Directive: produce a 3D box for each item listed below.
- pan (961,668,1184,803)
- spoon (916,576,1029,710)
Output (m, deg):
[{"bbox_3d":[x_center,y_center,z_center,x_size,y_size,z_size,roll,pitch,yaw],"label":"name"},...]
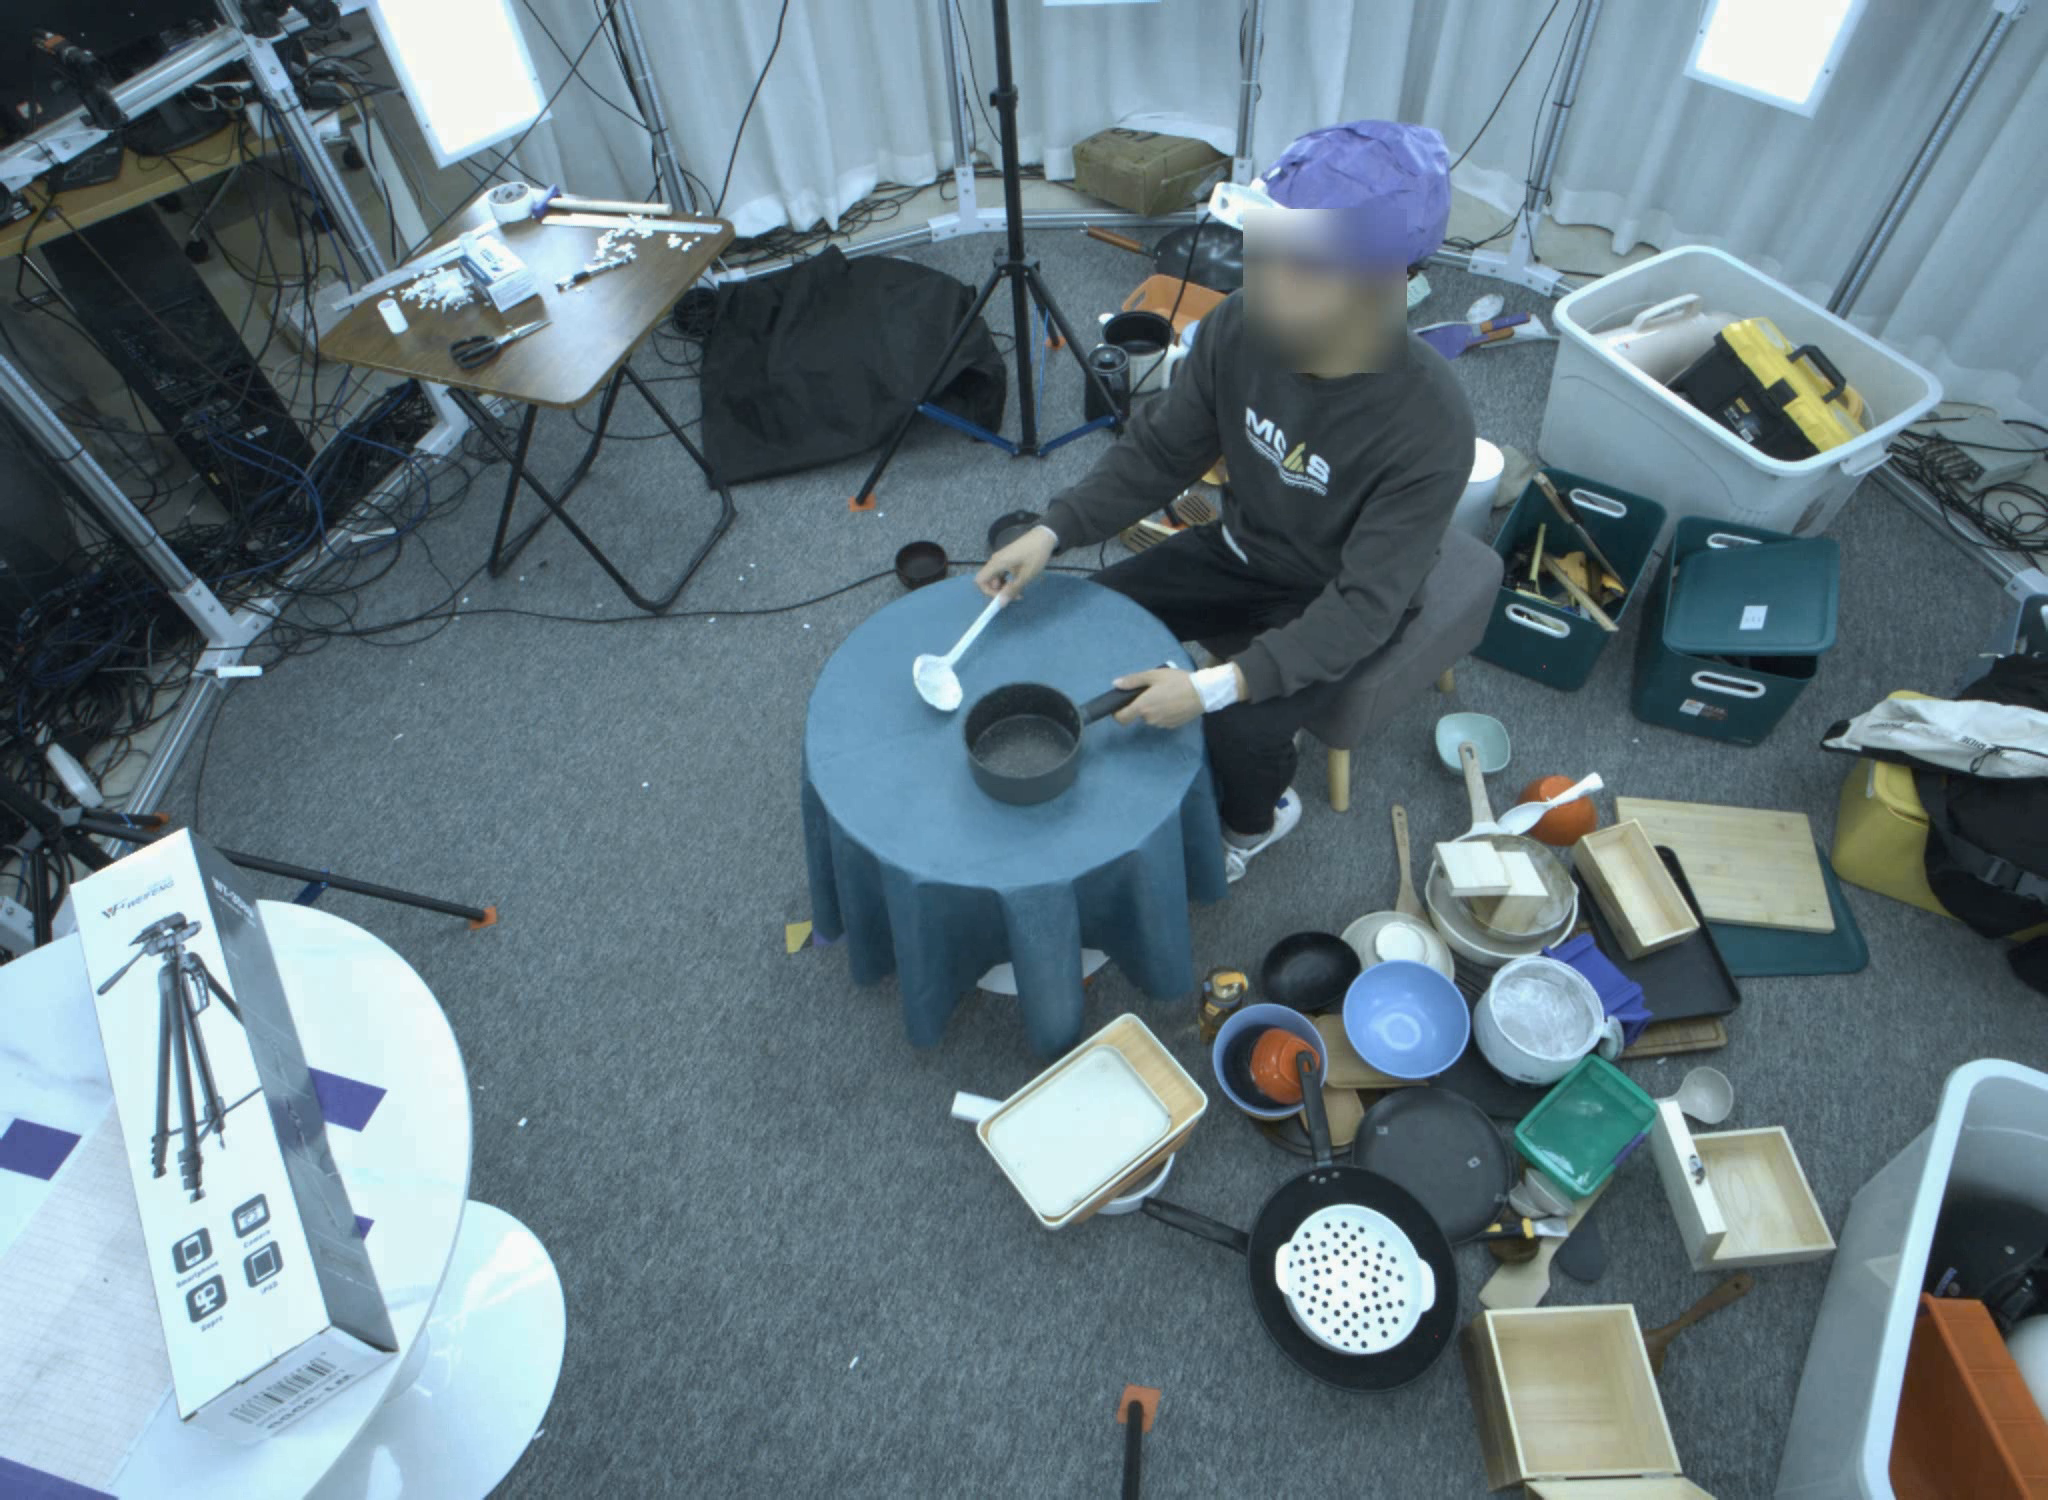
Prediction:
[{"bbox_3d":[0.073,-0.036,1.768,0.331,0.087,0.169,-18,57,-10],"label":"pan"},{"bbox_3d":[-0.065,-0.170,1.863,0.278,0.102,0.058,-49,24,-20],"label":"spoon"}]
